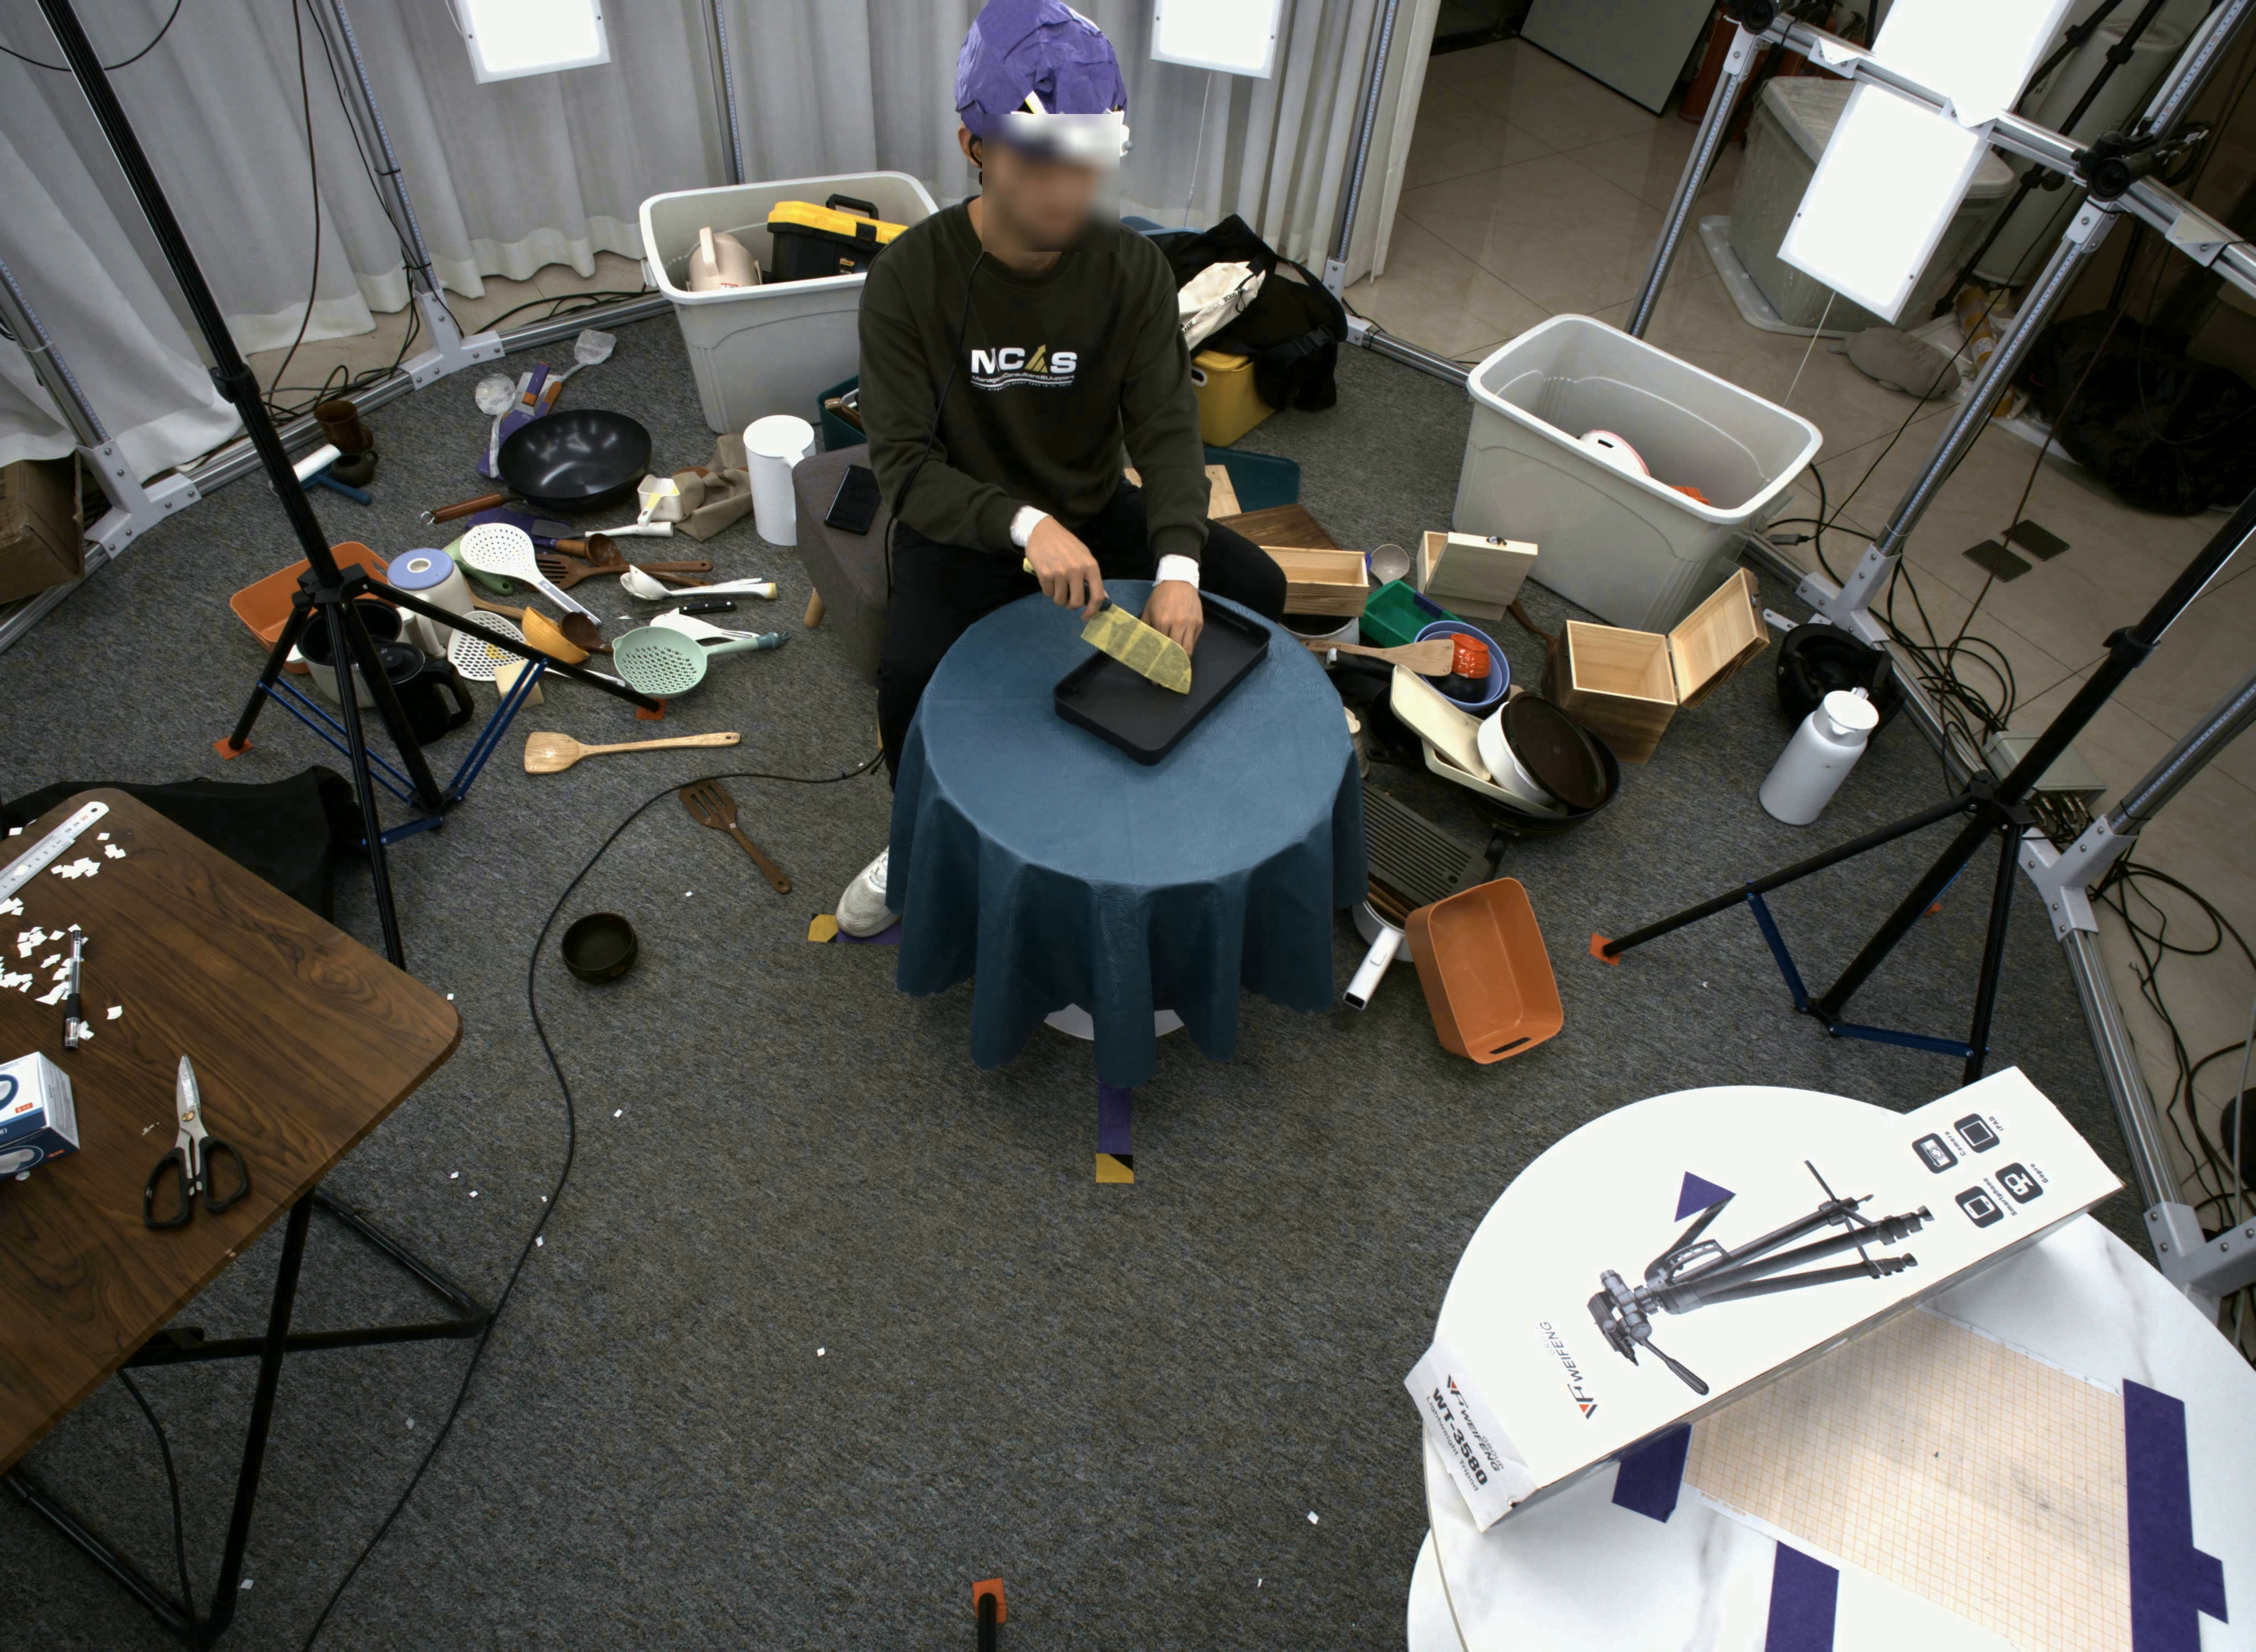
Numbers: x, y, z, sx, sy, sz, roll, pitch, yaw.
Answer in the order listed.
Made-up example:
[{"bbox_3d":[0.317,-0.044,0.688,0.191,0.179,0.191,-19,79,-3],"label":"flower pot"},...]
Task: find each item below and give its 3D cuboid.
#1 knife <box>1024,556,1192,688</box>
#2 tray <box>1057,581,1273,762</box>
[{"bbox_3d":[-0.029,-0.284,1.807,0.288,0.080,0.028,34,33,-5],"label":"knife"},{"bbox_3d":[0.056,-0.228,1.844,0.186,0.036,0.322,29,53,20],"label":"tray"}]
